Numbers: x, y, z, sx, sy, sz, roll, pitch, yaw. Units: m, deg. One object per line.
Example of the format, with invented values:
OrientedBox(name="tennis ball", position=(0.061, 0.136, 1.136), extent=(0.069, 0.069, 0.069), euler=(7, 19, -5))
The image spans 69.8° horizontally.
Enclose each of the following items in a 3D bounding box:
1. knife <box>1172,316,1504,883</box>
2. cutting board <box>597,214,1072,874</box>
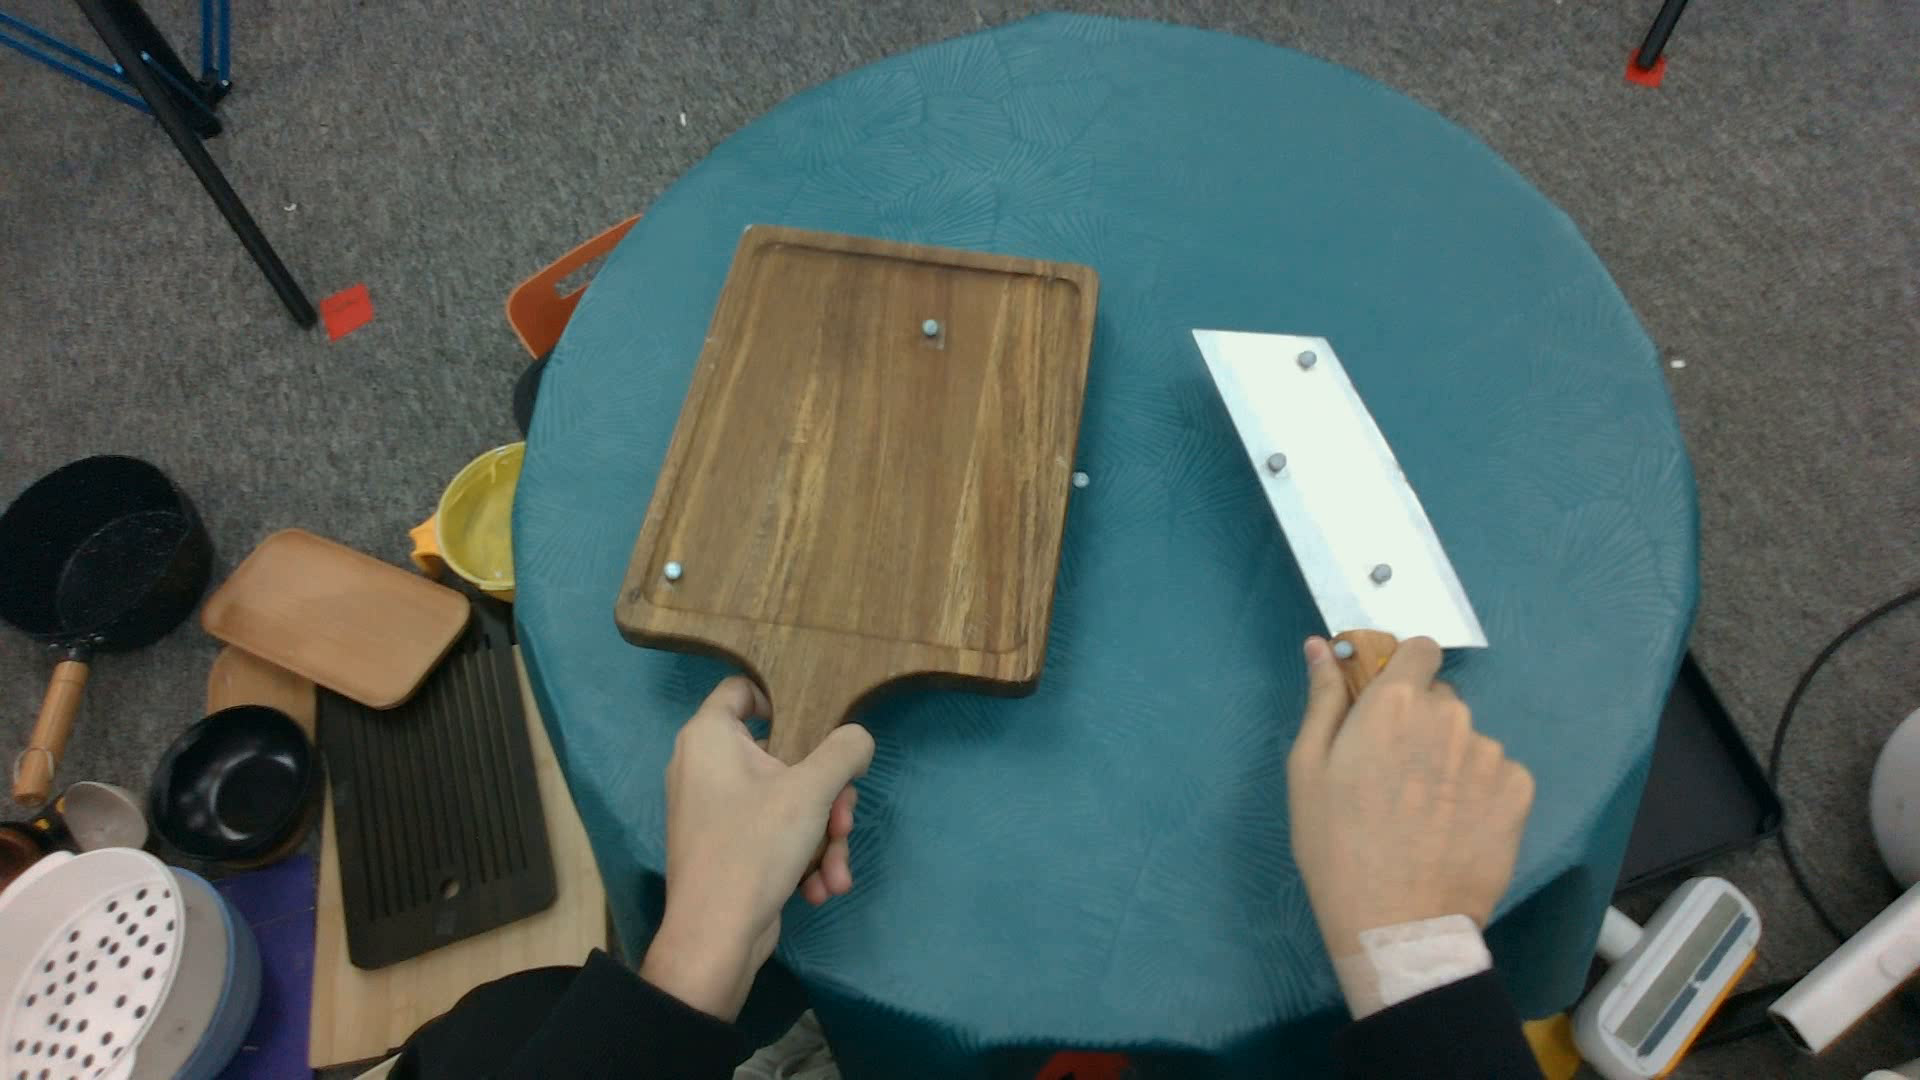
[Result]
OrientedBox(name="knife", position=(0.186, 0.009, 0.641), extent=(0.093, 0.021, 0.306), euler=(0, 55, -28))
OrientedBox(name="cutting board", position=(-0.058, -0.016, 0.654), extent=(0.201, 0.023, 0.354), euler=(7, 59, 4))
